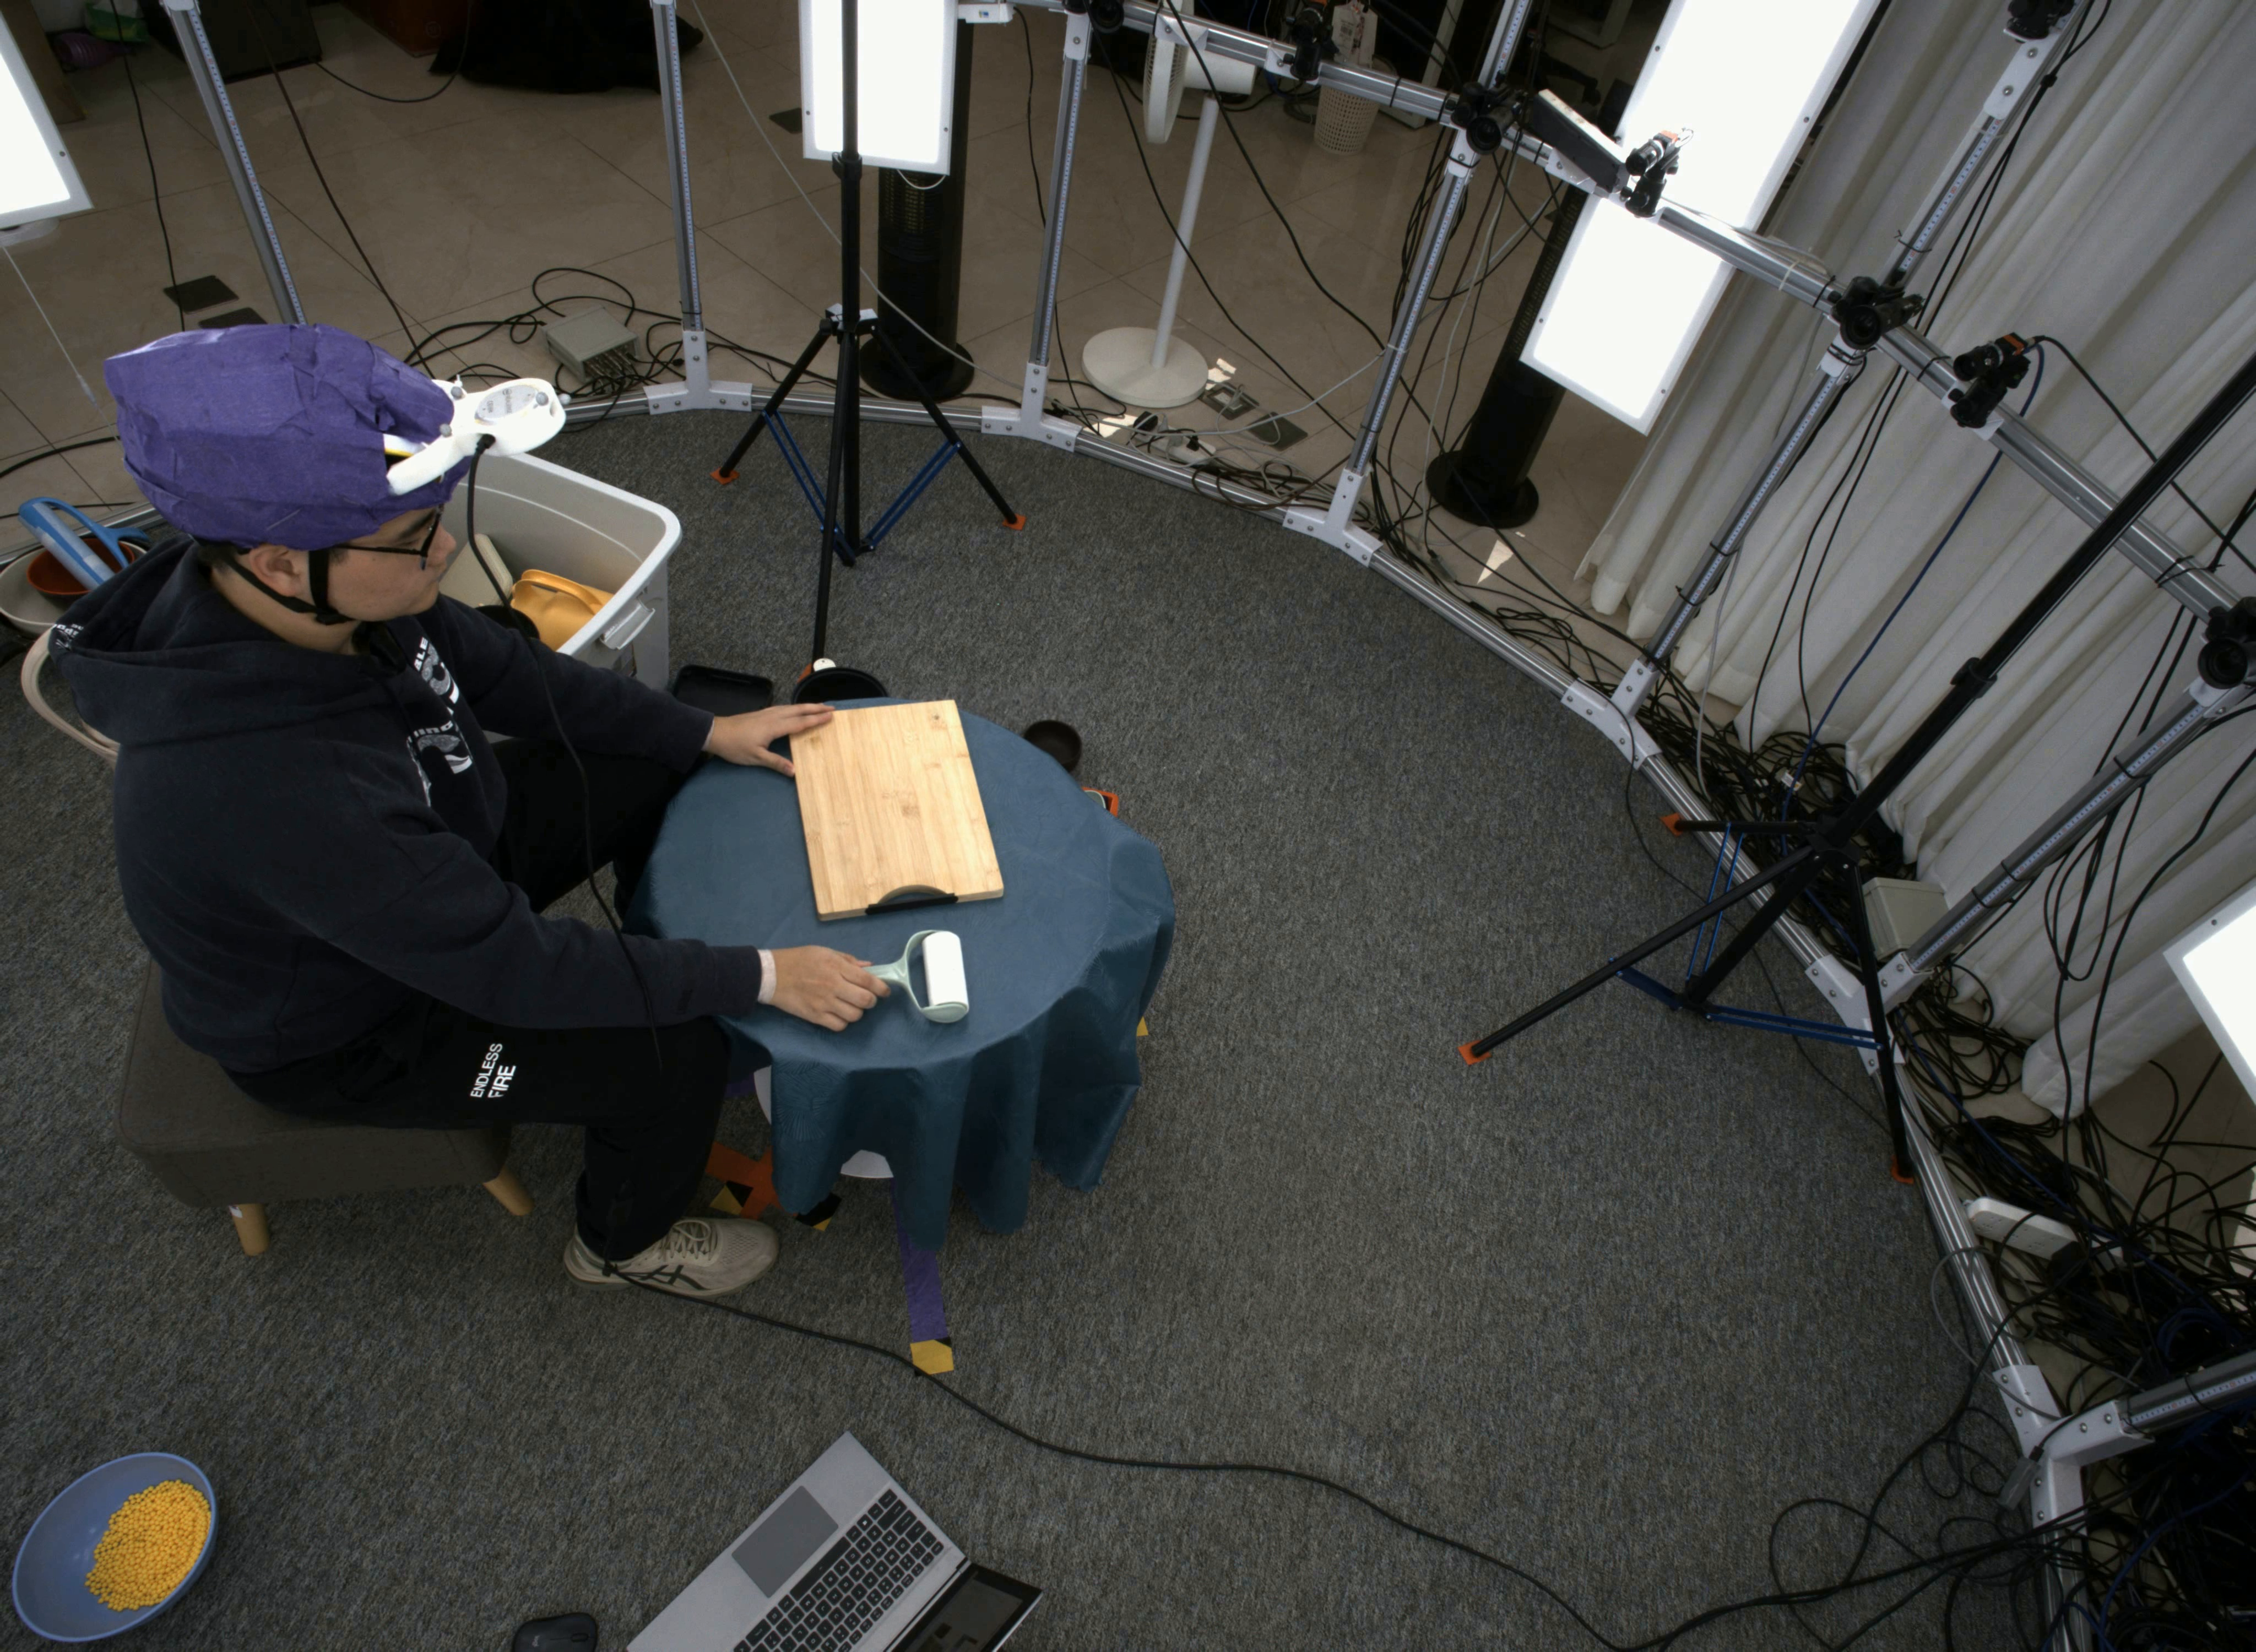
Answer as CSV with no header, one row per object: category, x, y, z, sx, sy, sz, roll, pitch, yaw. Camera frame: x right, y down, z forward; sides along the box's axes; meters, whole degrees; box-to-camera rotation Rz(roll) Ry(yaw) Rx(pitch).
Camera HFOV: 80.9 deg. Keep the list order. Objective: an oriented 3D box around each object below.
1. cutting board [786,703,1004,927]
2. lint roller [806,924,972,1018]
cutting board,-0.320,-0.027,1.756,0.251,0.024,0.340,-8,56,-19
lint roller,-0.295,0.183,1.588,0.198,0.049,0.114,-5,57,-14
